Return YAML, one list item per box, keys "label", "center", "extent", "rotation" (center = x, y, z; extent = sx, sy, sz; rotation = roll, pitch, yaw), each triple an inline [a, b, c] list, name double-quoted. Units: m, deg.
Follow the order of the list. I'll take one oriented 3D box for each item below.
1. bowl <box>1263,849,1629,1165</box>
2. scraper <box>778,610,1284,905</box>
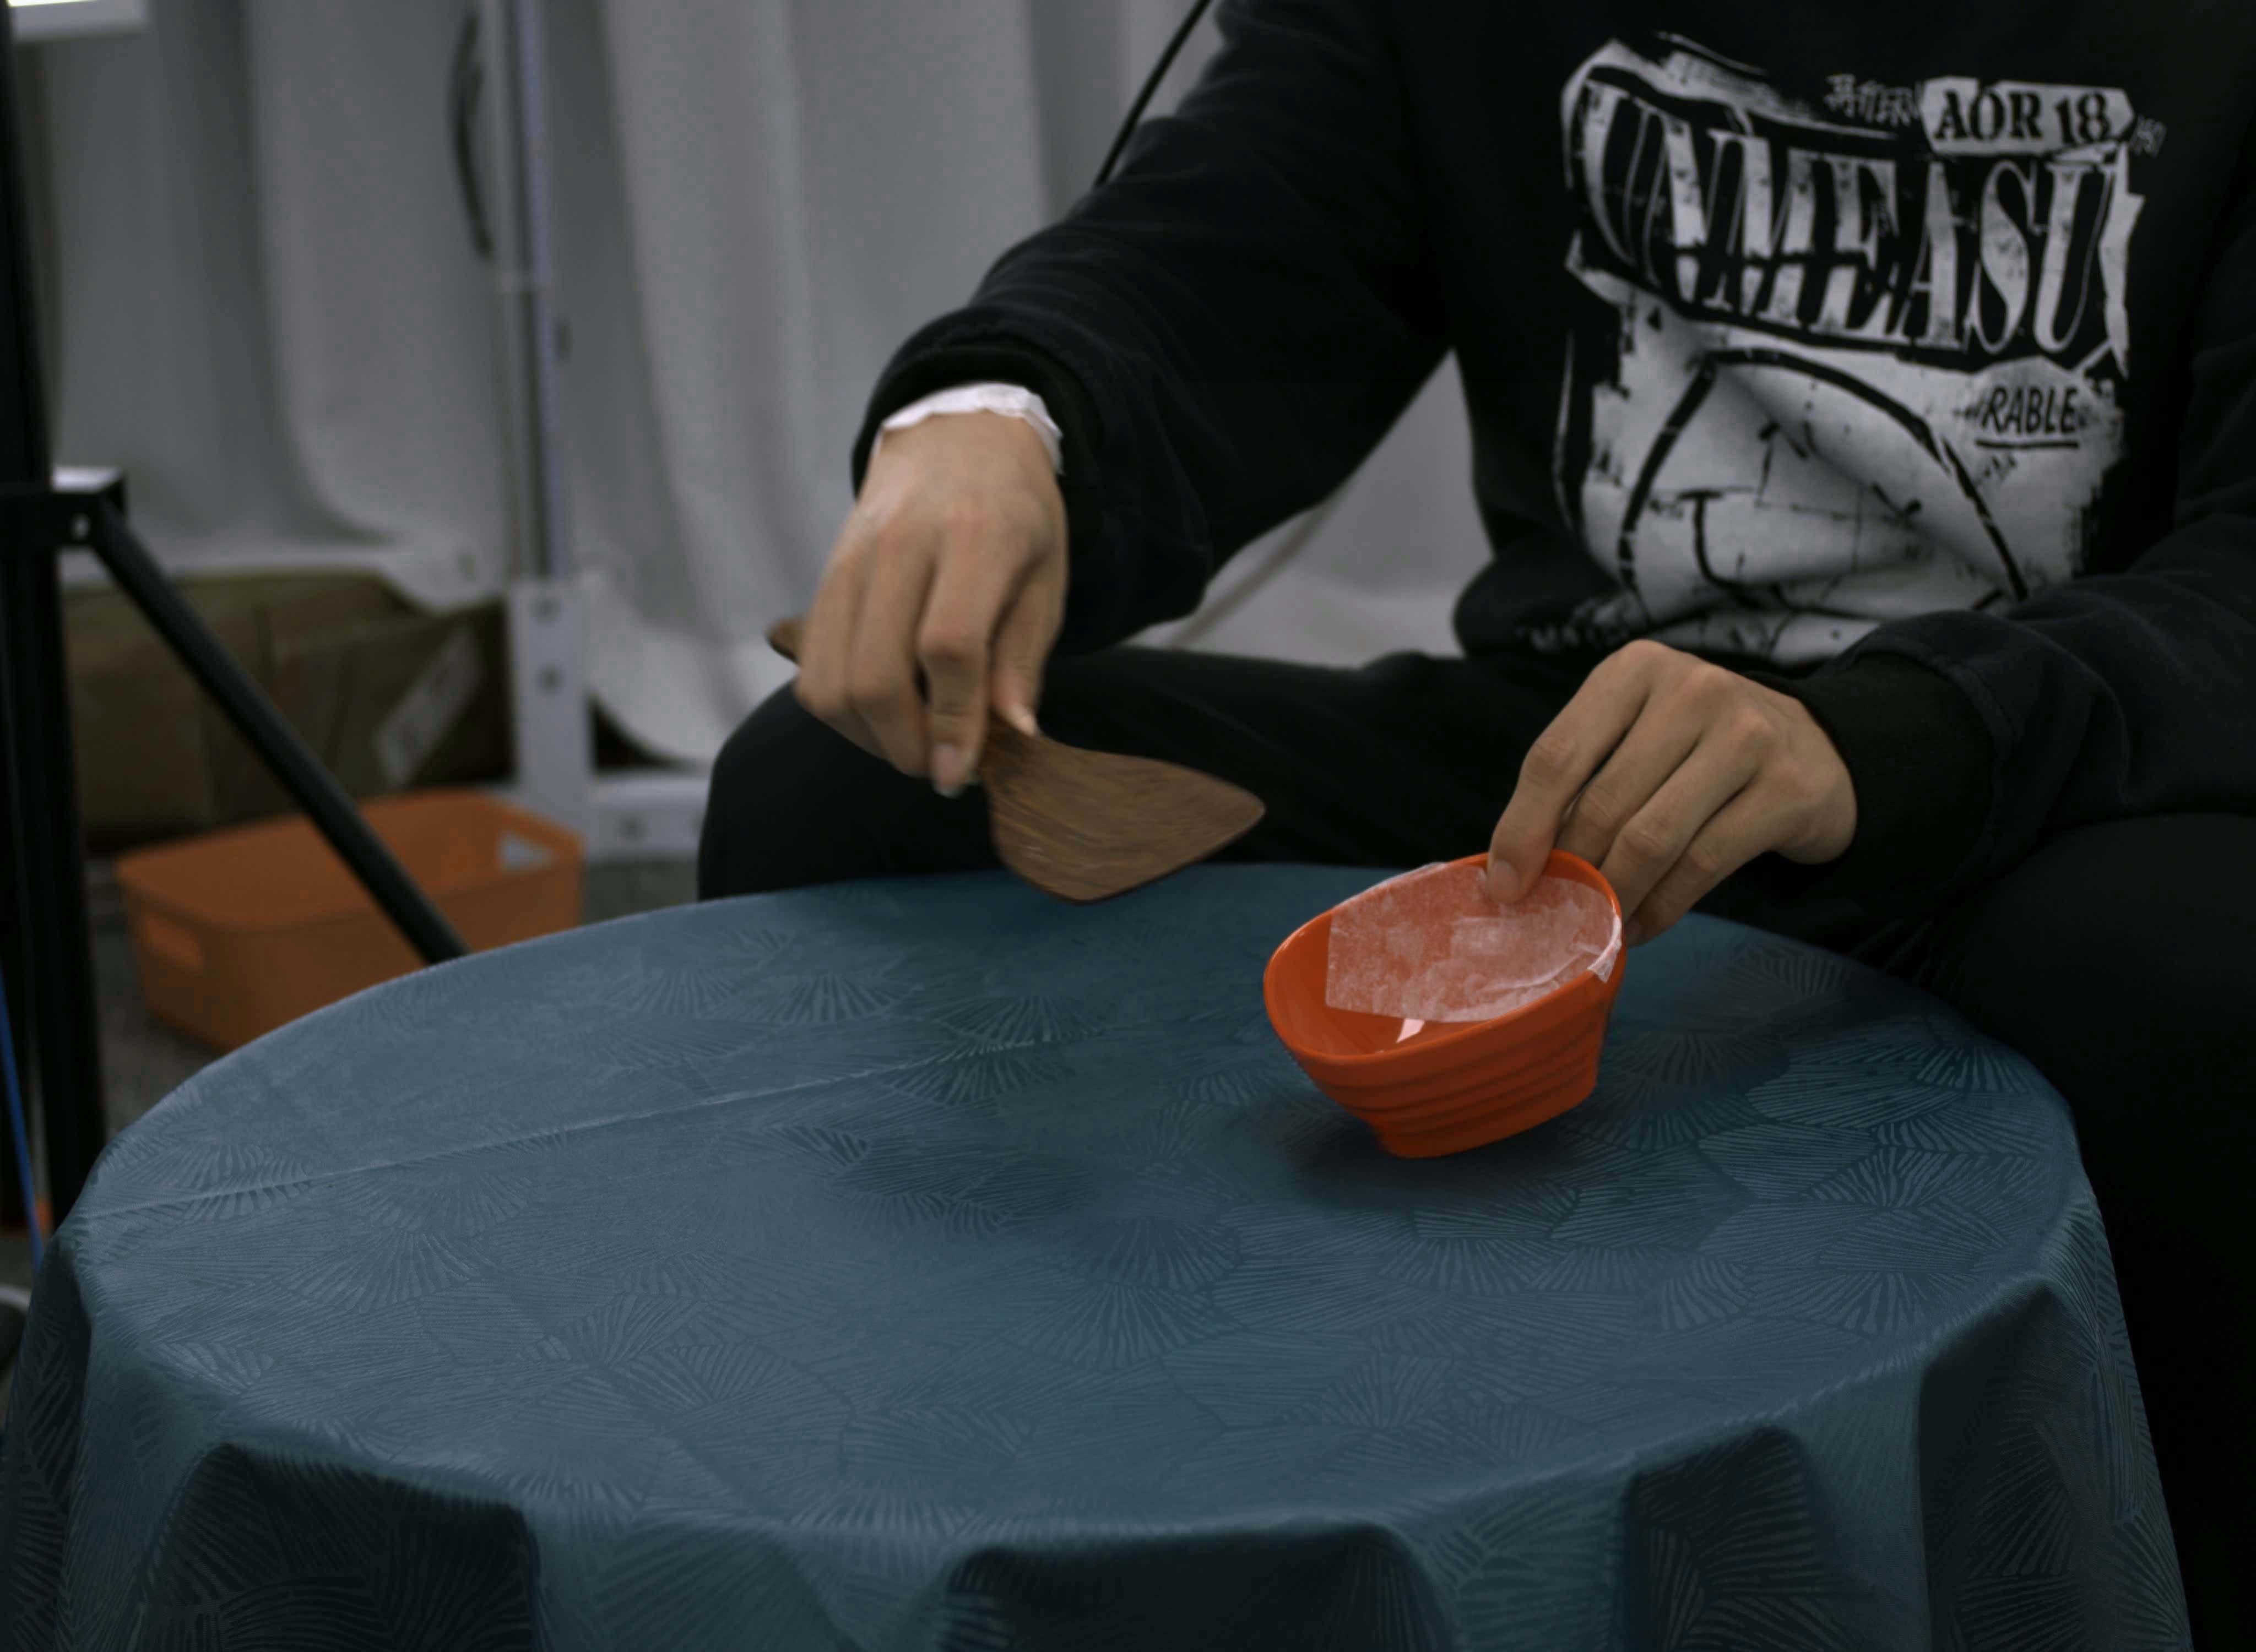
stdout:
- label: "bowl"
  center: [0.101, 0.059, 1.589]
  extent: [0.119, 0.051, 0.120]
  rotation: [-19, 24, 7]
- label: "scraper"
  center: [-0.040, -0.025, 1.615]
  extent: [0.074, 0.011, 0.216]
  rotation: [-27, 36, -26]
